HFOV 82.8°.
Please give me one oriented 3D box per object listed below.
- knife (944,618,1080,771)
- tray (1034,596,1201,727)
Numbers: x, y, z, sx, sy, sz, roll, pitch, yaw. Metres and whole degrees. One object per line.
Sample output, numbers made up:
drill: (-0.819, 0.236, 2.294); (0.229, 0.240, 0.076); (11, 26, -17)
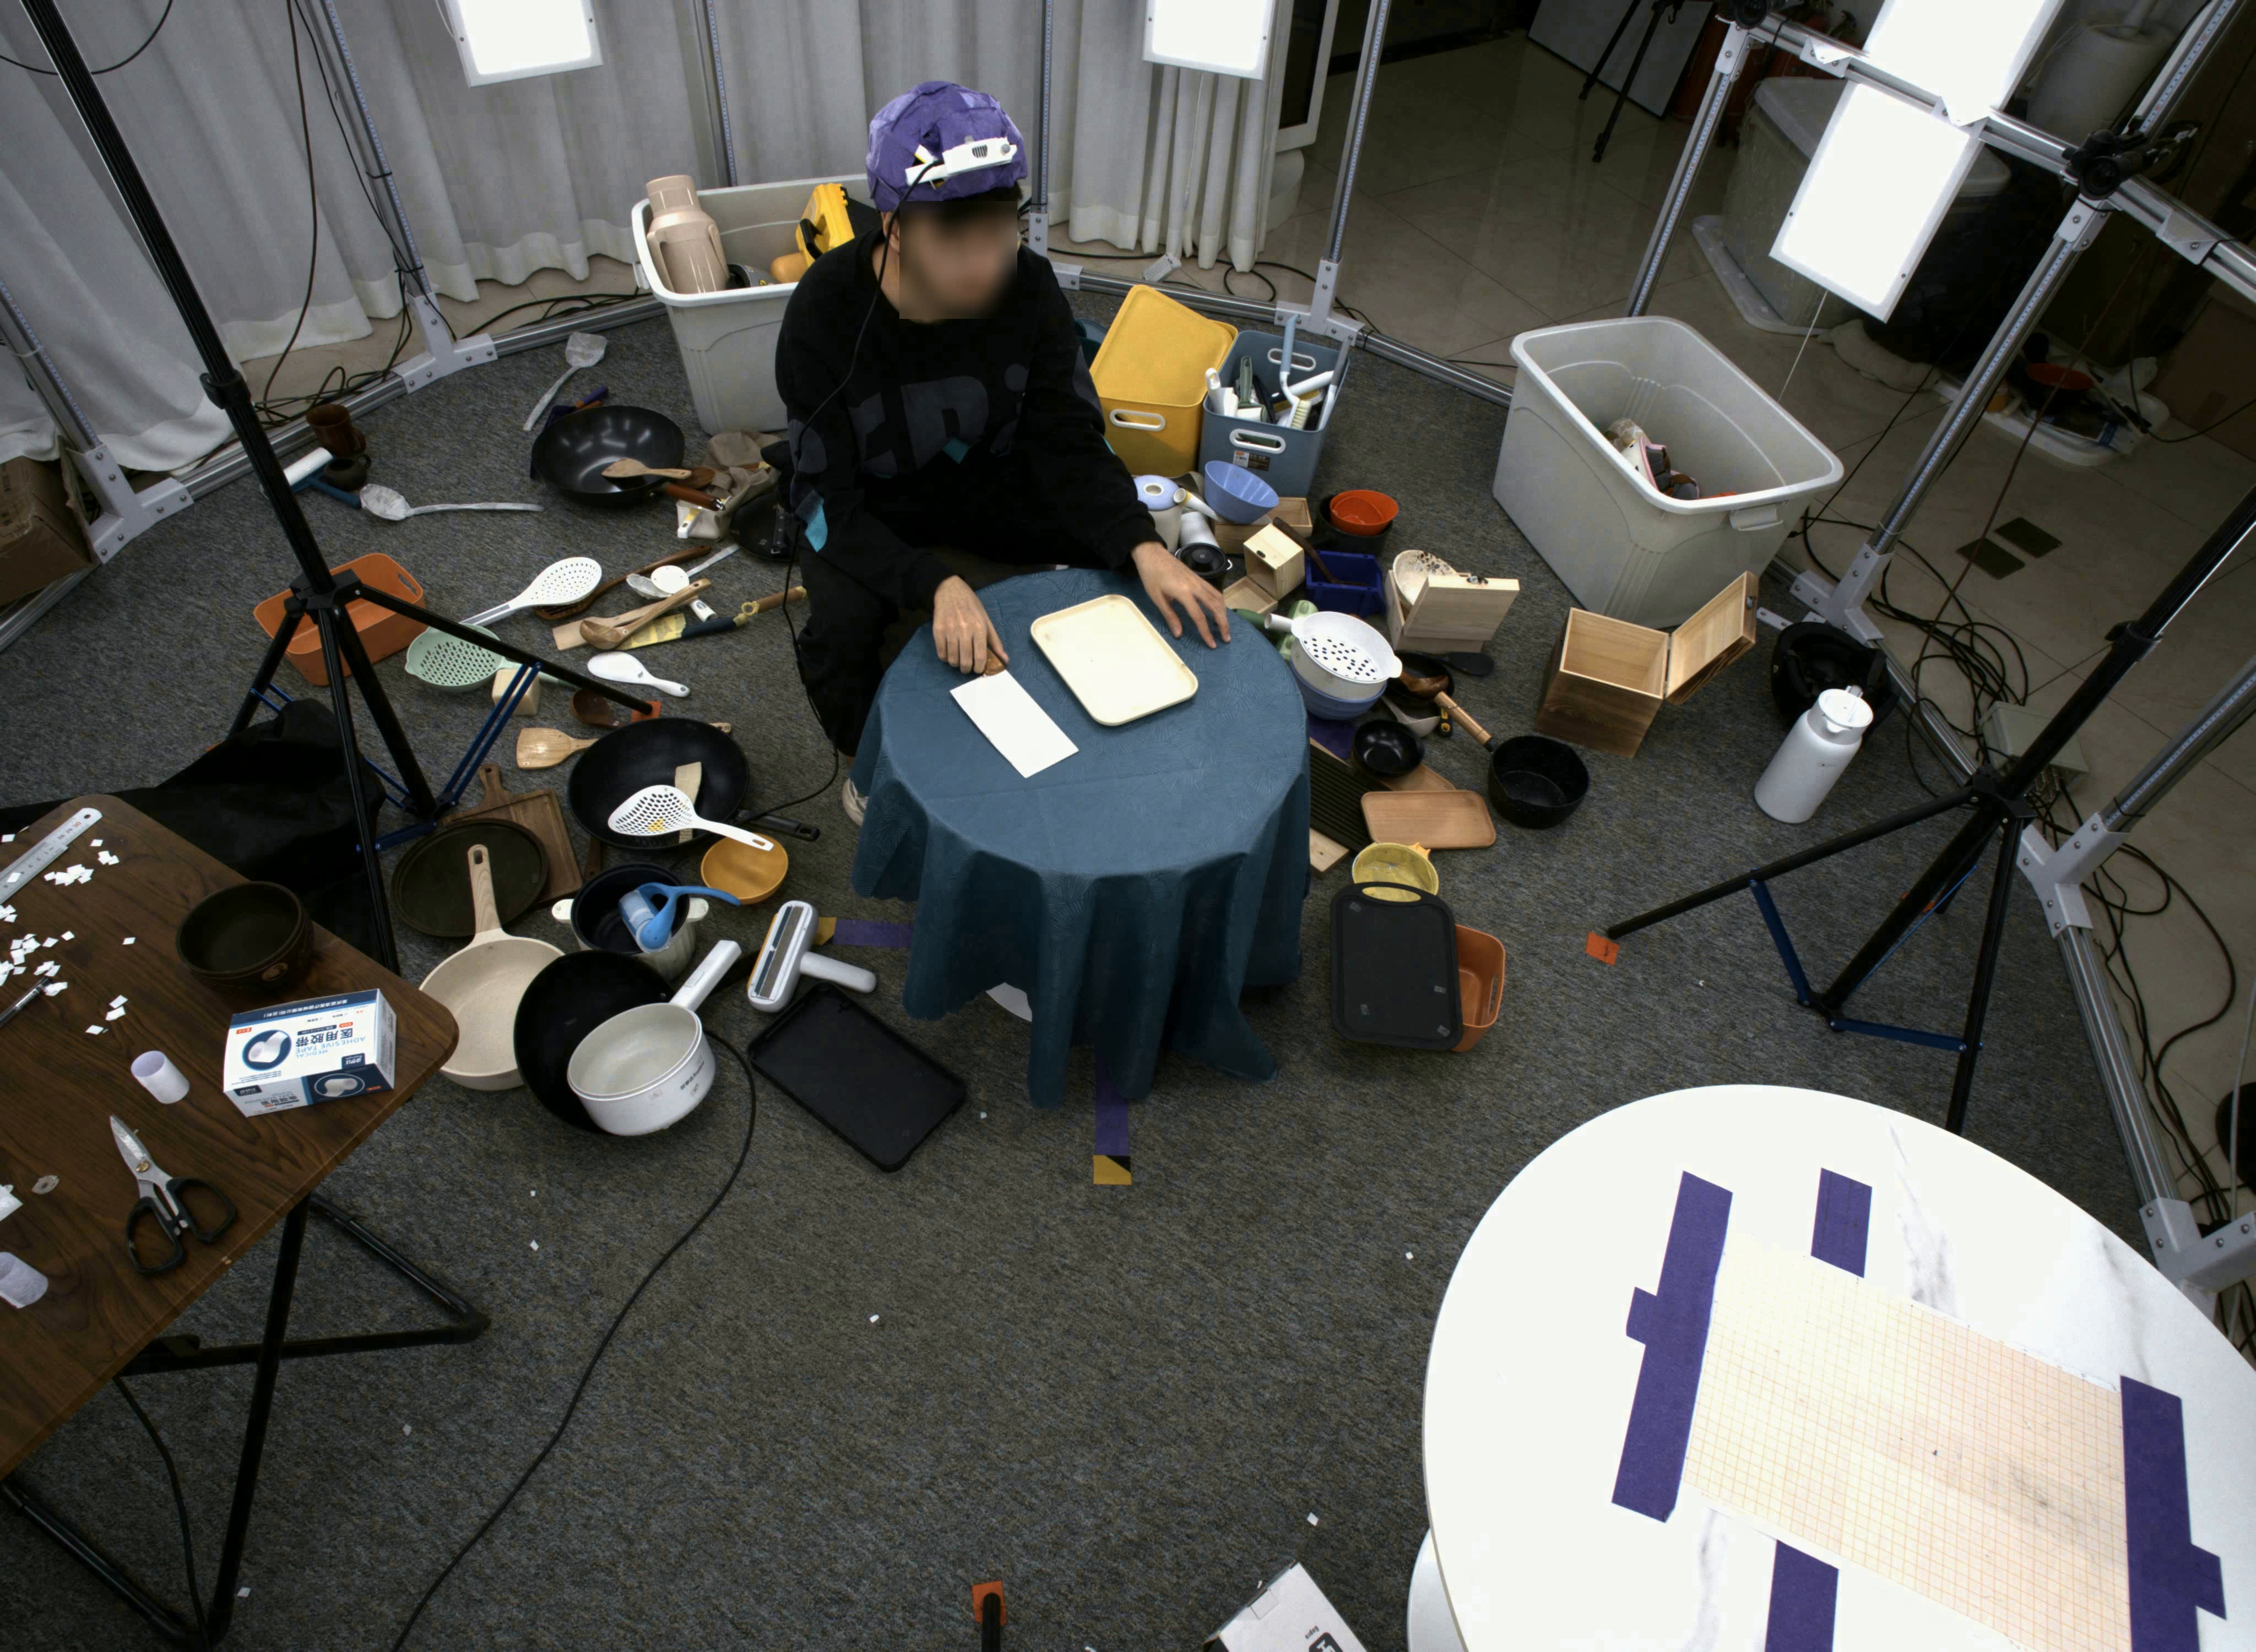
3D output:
knife: (-0.187, -0.185, 1.807); (0.093, 0.020, 0.311); (-28, 59, -23)
tray: (-0.018, -0.241, 1.864); (0.172, 0.017, 0.245); (-22, 54, -20)
